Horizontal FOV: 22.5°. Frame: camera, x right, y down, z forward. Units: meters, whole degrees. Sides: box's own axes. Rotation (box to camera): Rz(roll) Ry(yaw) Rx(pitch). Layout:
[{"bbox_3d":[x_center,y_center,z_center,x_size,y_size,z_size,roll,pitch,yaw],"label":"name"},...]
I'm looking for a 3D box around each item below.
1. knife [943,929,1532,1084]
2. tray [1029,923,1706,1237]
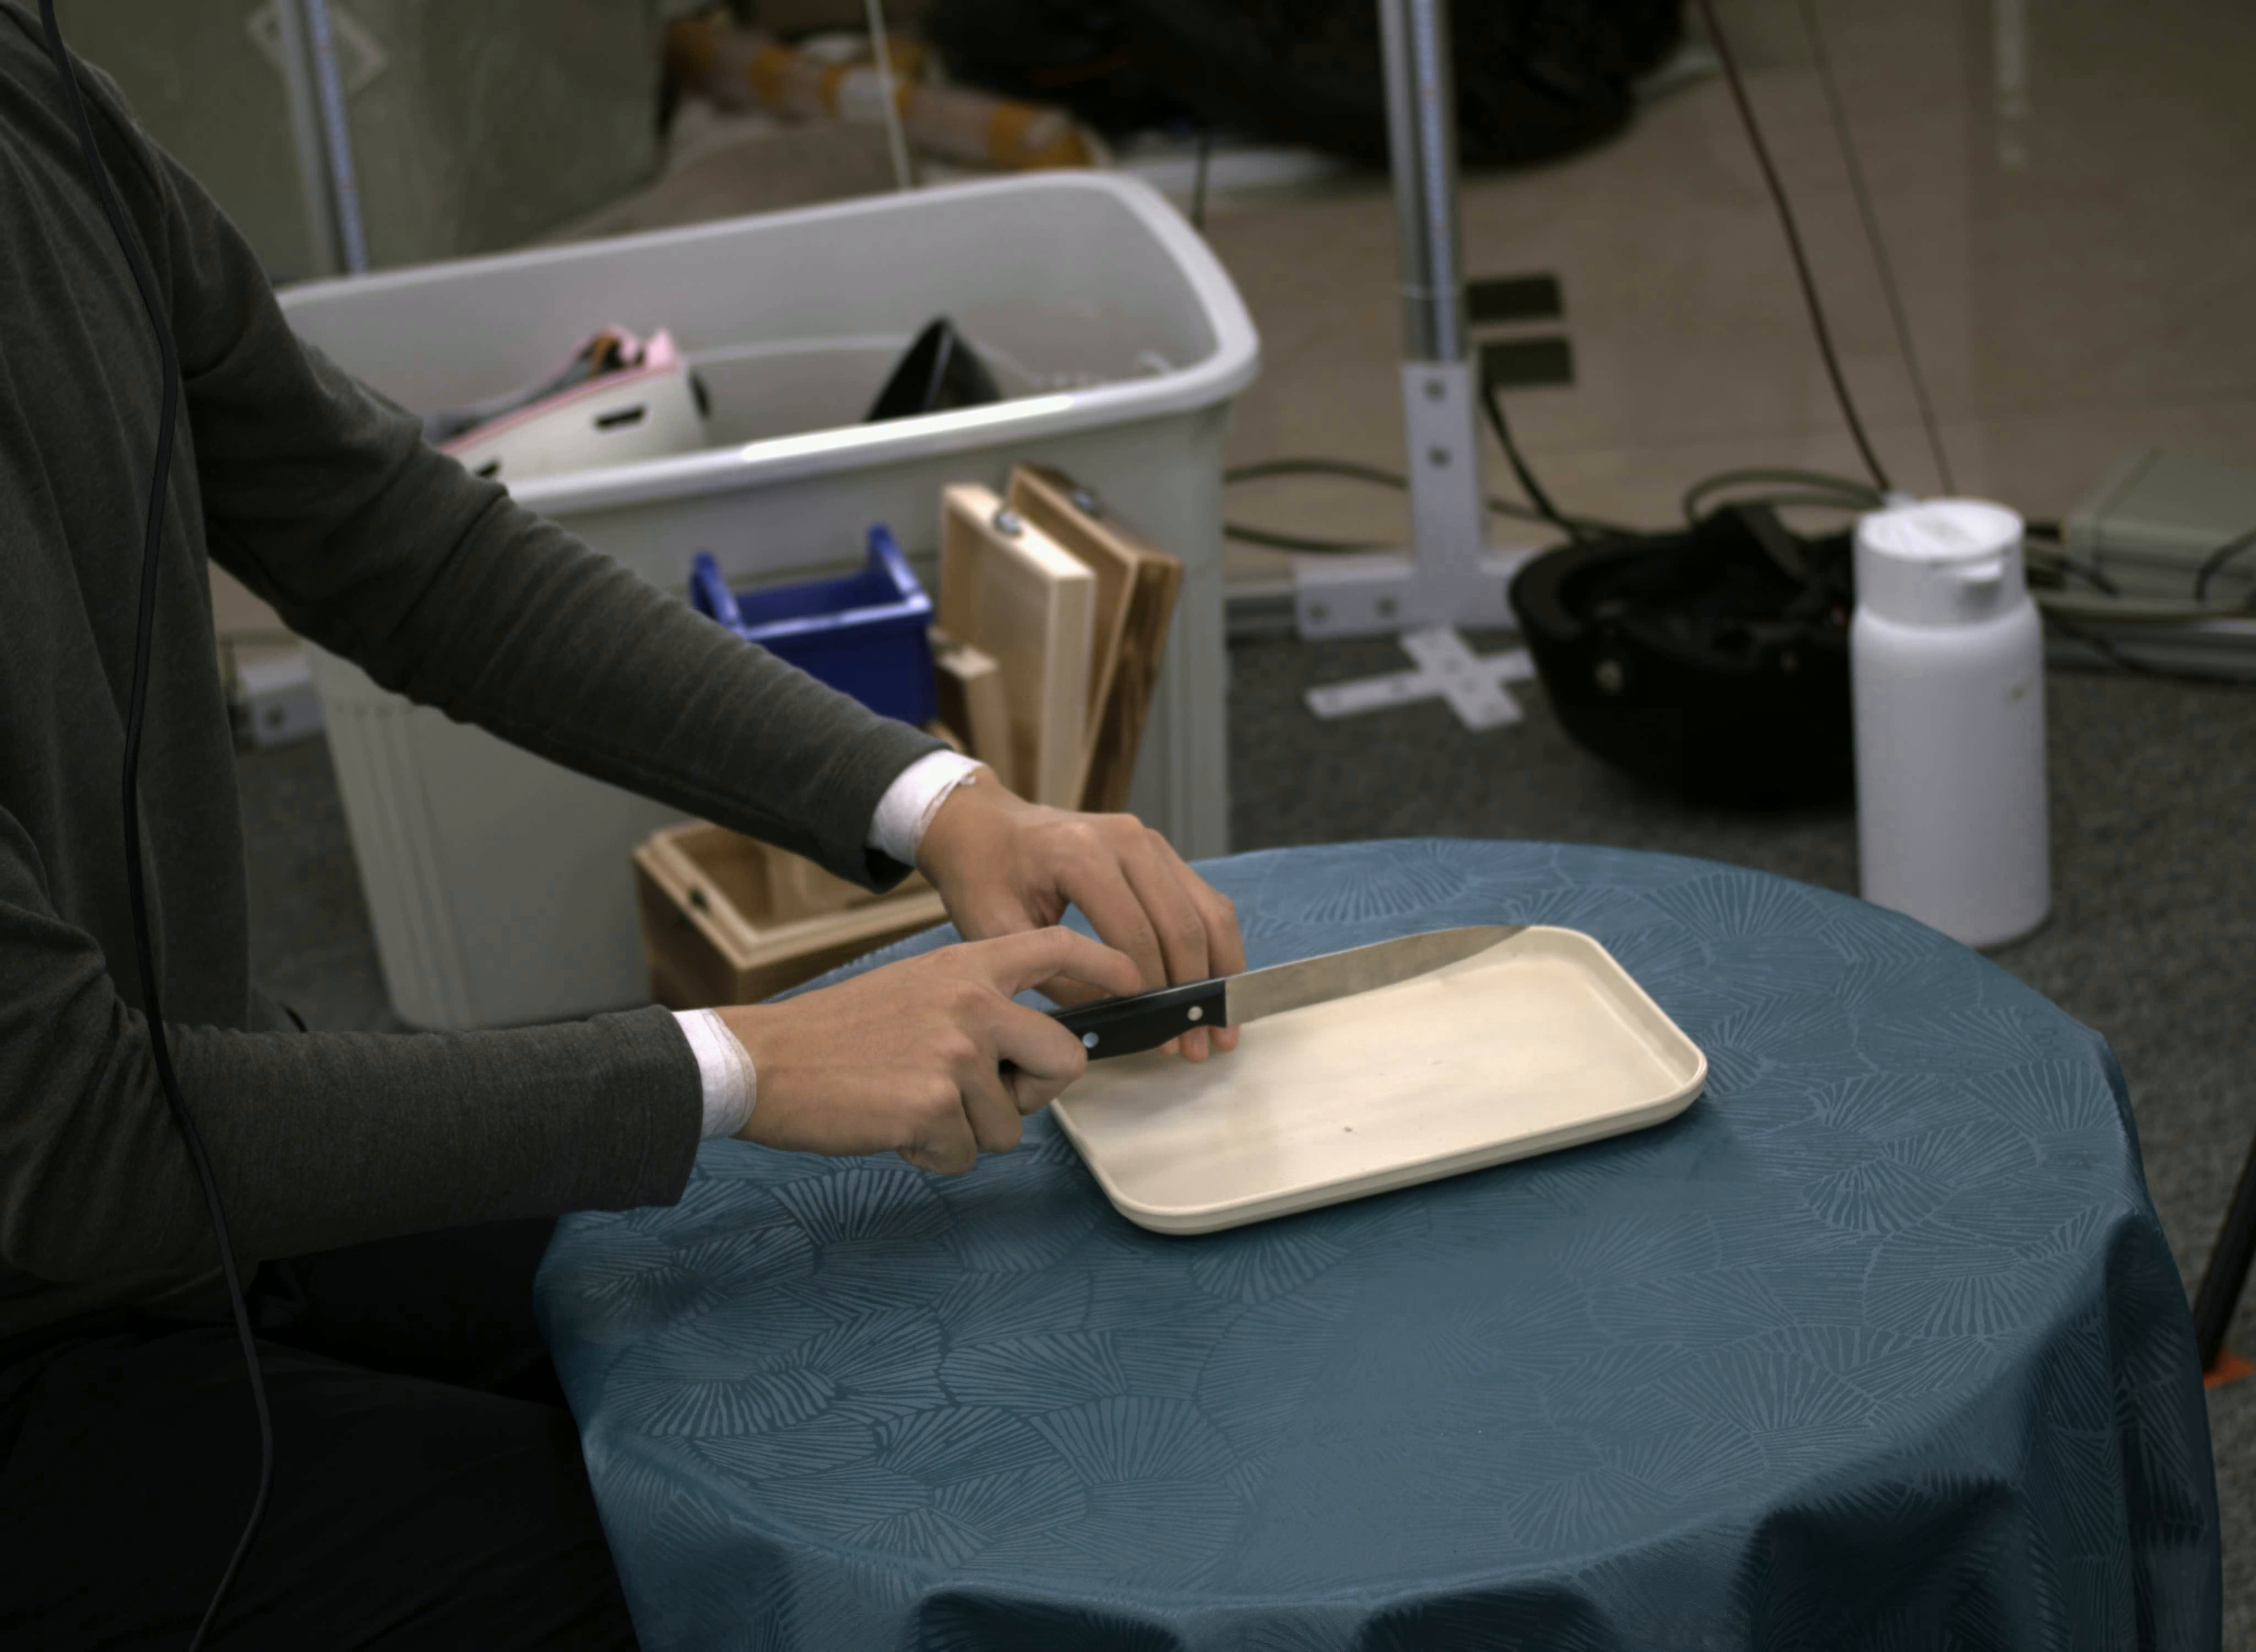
[{"bbox_3d":[0.043,0.063,2.156,0.237,0.025,0.016,-12,35,-14],"label":"knife"},{"bbox_3d":[0.091,0.098,2.196,0.239,0.018,0.169,-12,26,-12],"label":"tray"}]
